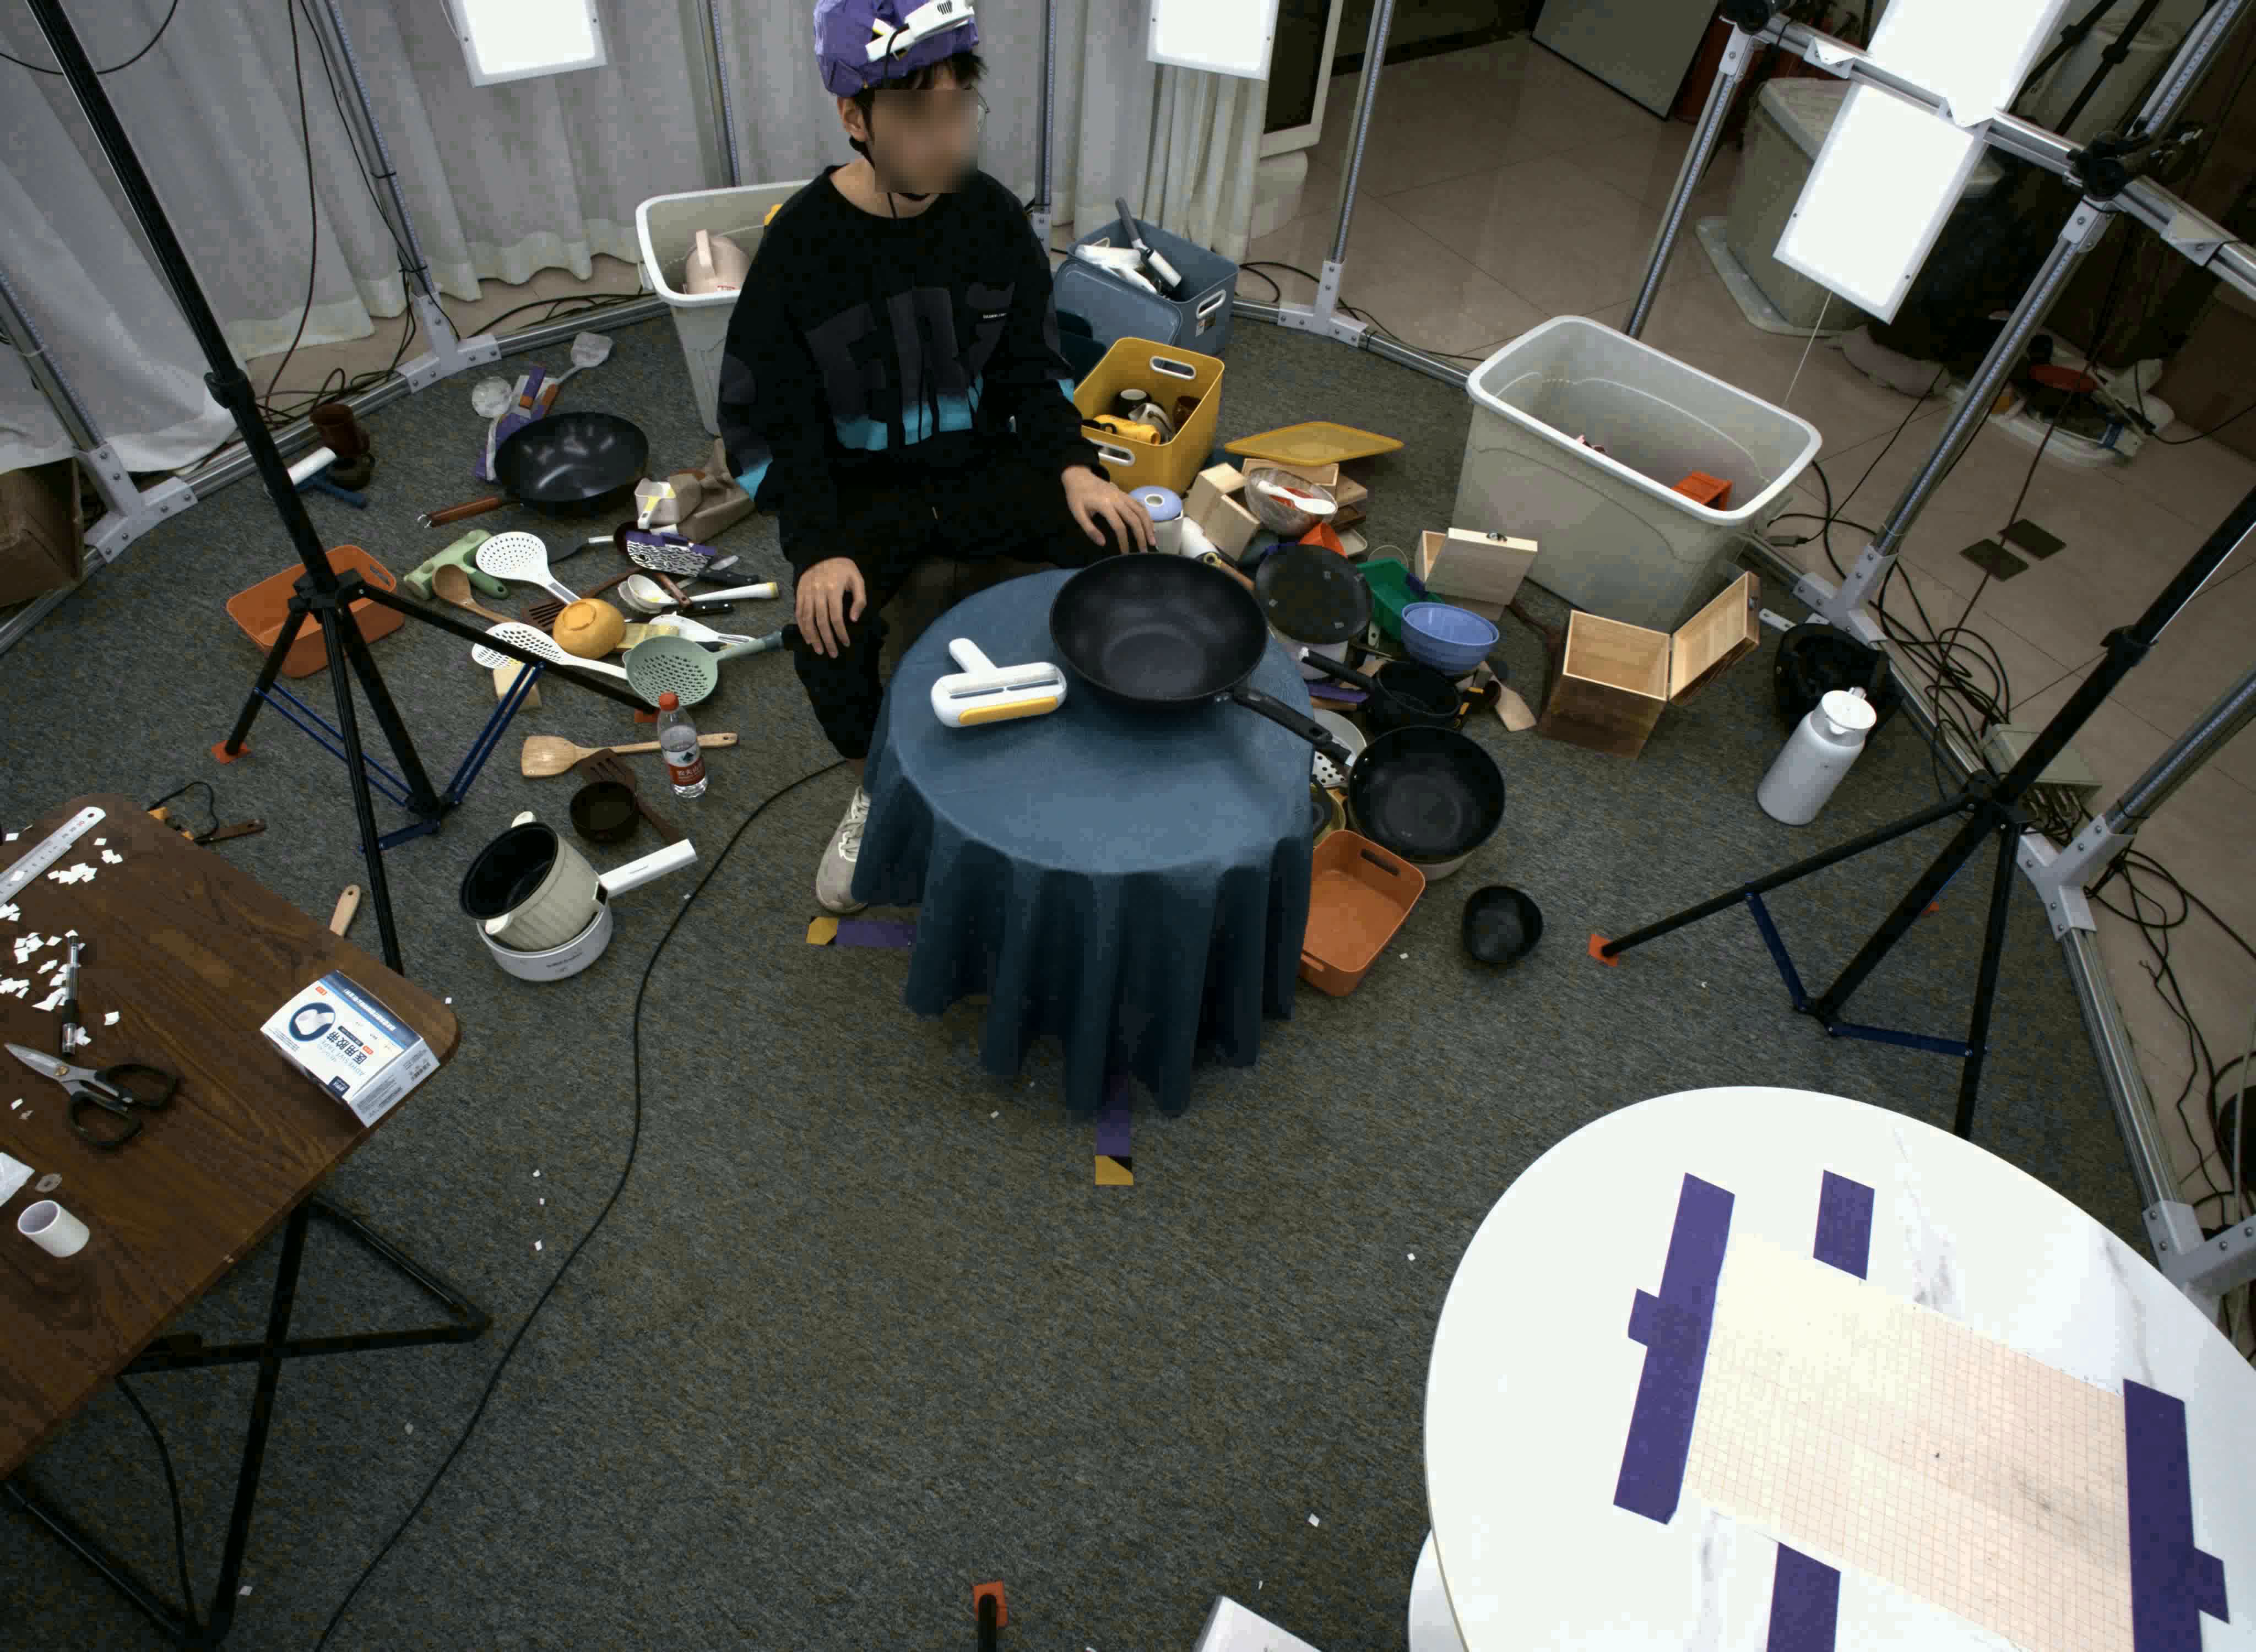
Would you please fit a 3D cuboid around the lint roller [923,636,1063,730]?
[{"bbox_3d":[-0.205,-0.215,1.798,0.193,0.072,0.197,-11,49,-20],"label":"lint roller"}]

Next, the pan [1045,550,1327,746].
[{"bbox_3d":[0.092,-0.221,1.796,0.312,0.109,0.485,-33,58,-26],"label":"pan"}]
